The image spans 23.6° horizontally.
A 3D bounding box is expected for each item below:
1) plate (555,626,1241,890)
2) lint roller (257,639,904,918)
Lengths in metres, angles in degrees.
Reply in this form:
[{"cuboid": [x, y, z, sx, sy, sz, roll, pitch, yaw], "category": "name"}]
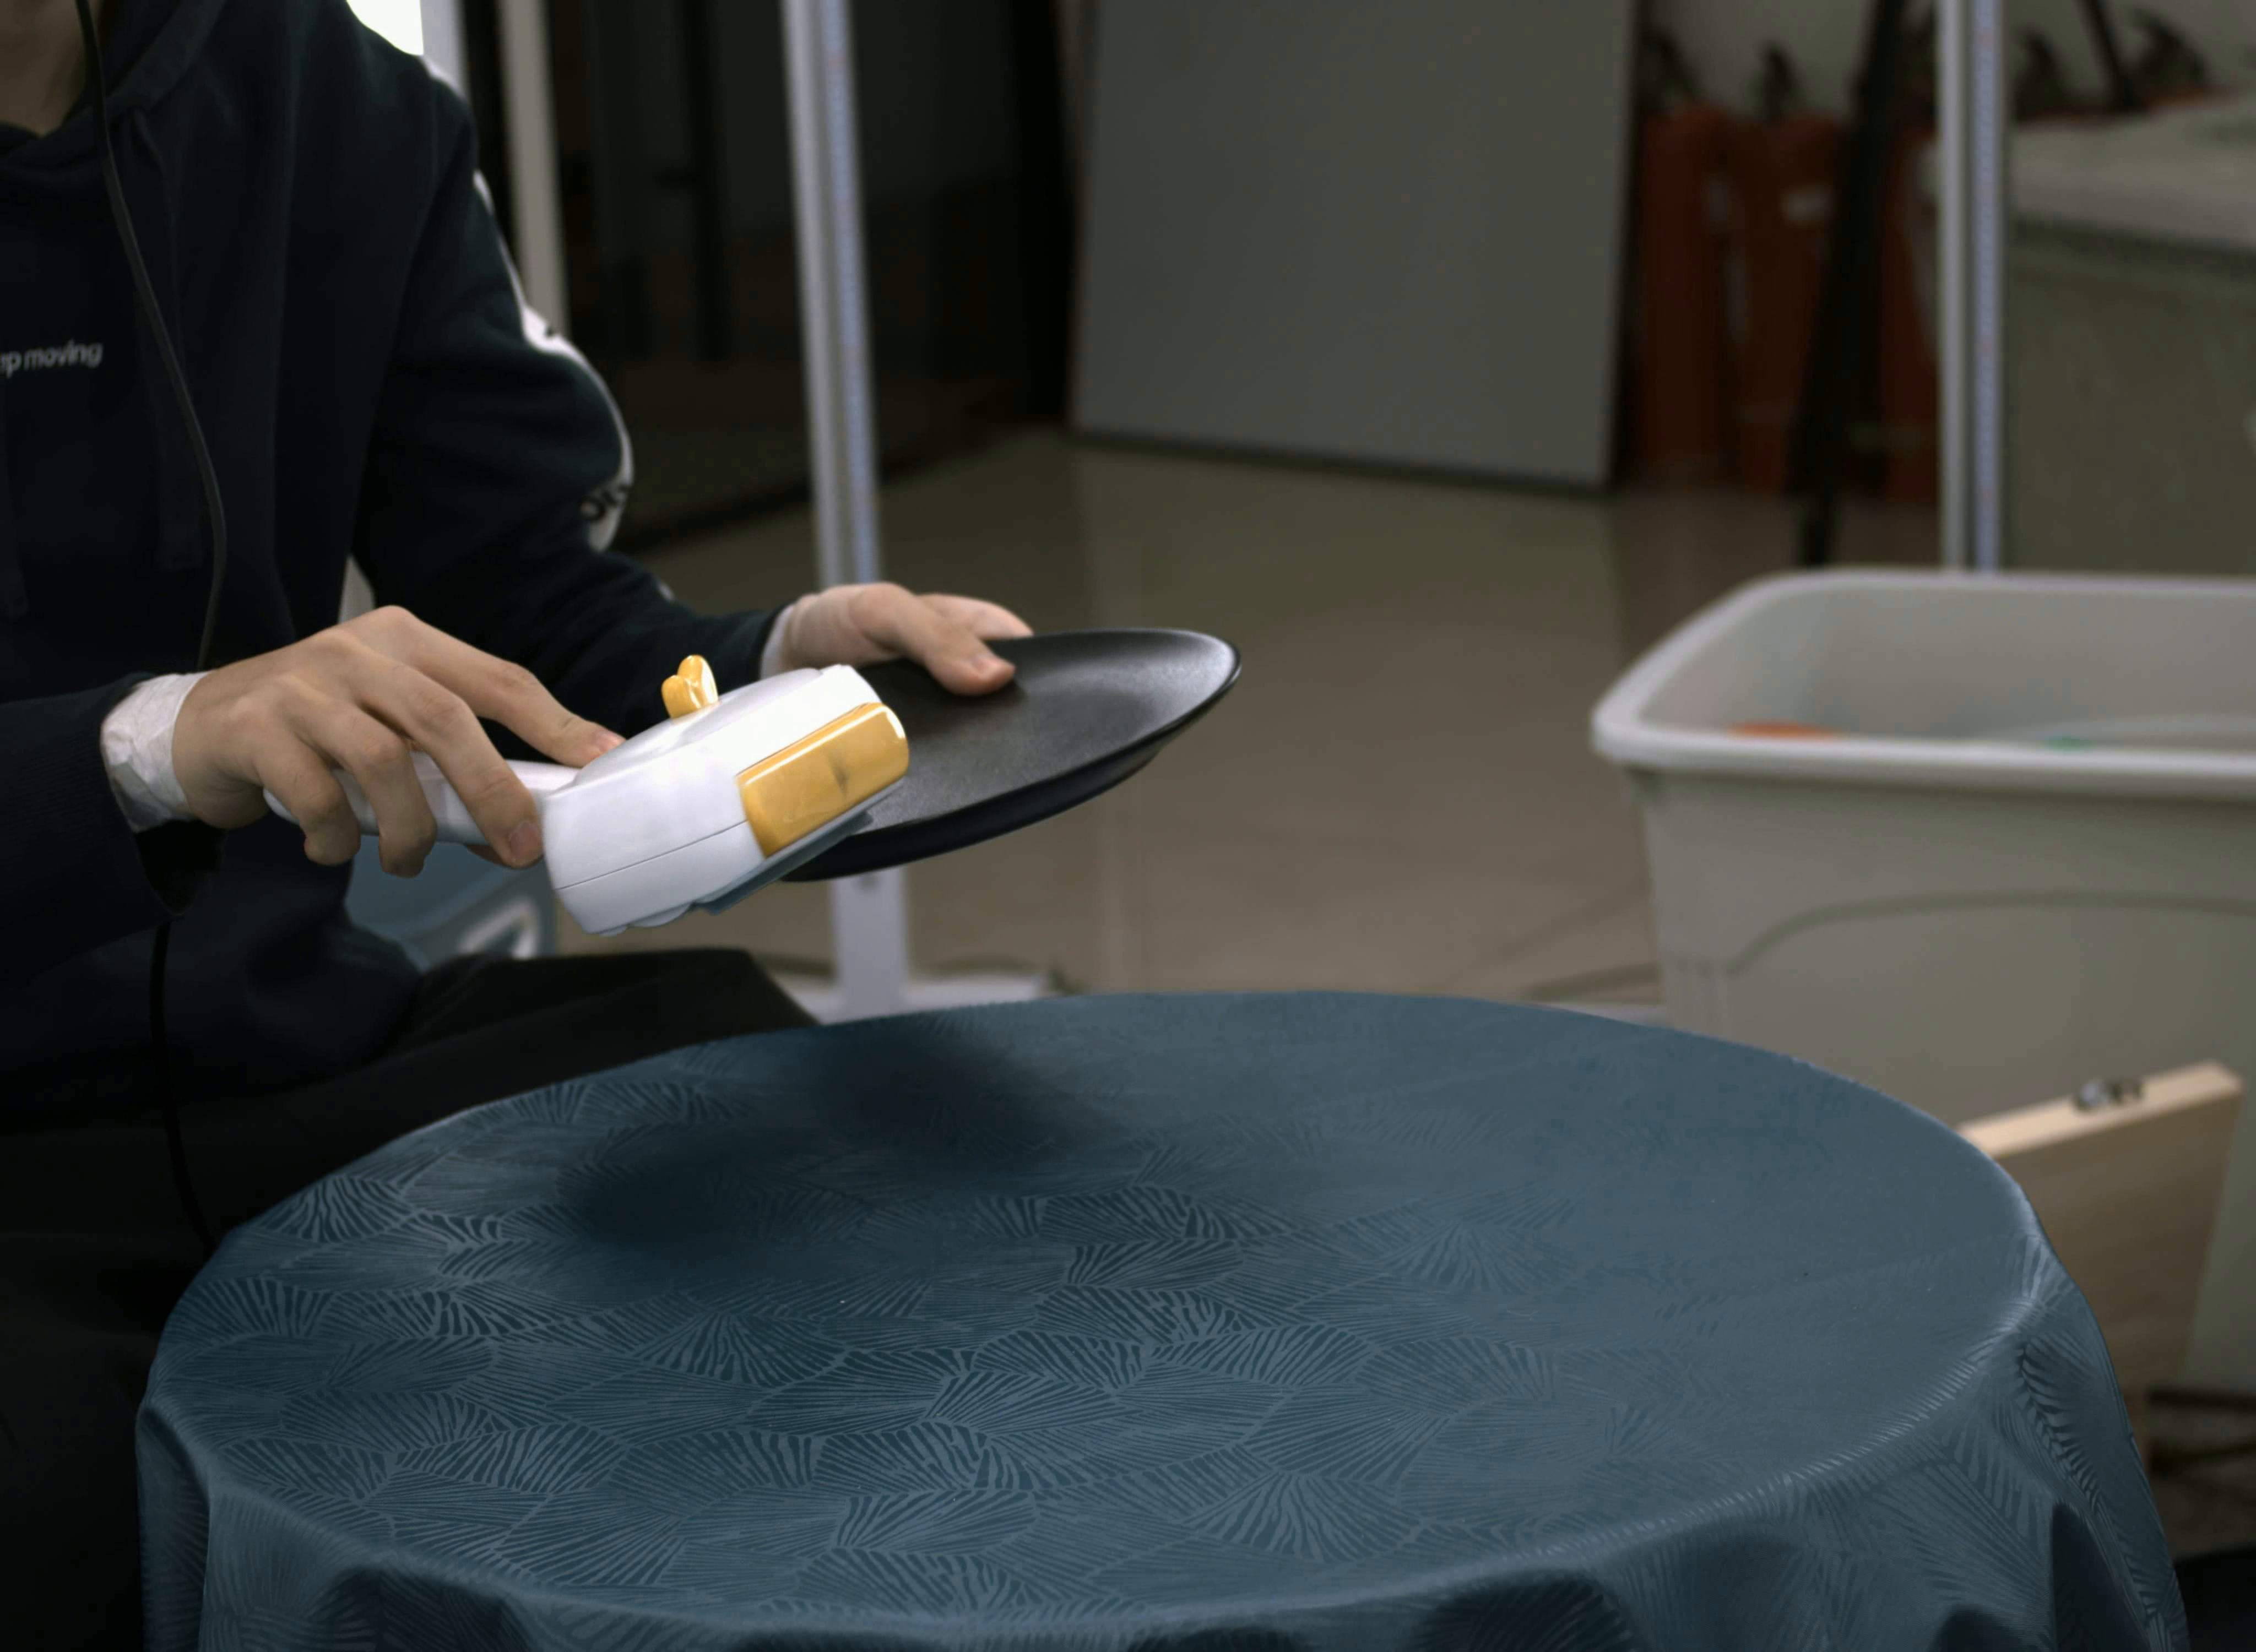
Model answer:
[{"cuboid": [-0.076, -0.020, 1.833, 0.242, 0.023, 0.245, -15, 13, 3], "category": "plate"}, {"cuboid": [-0.178, -0.009, 1.695, 0.191, 0.075, 0.192, -12, 11, 13], "category": "lint roller"}]
